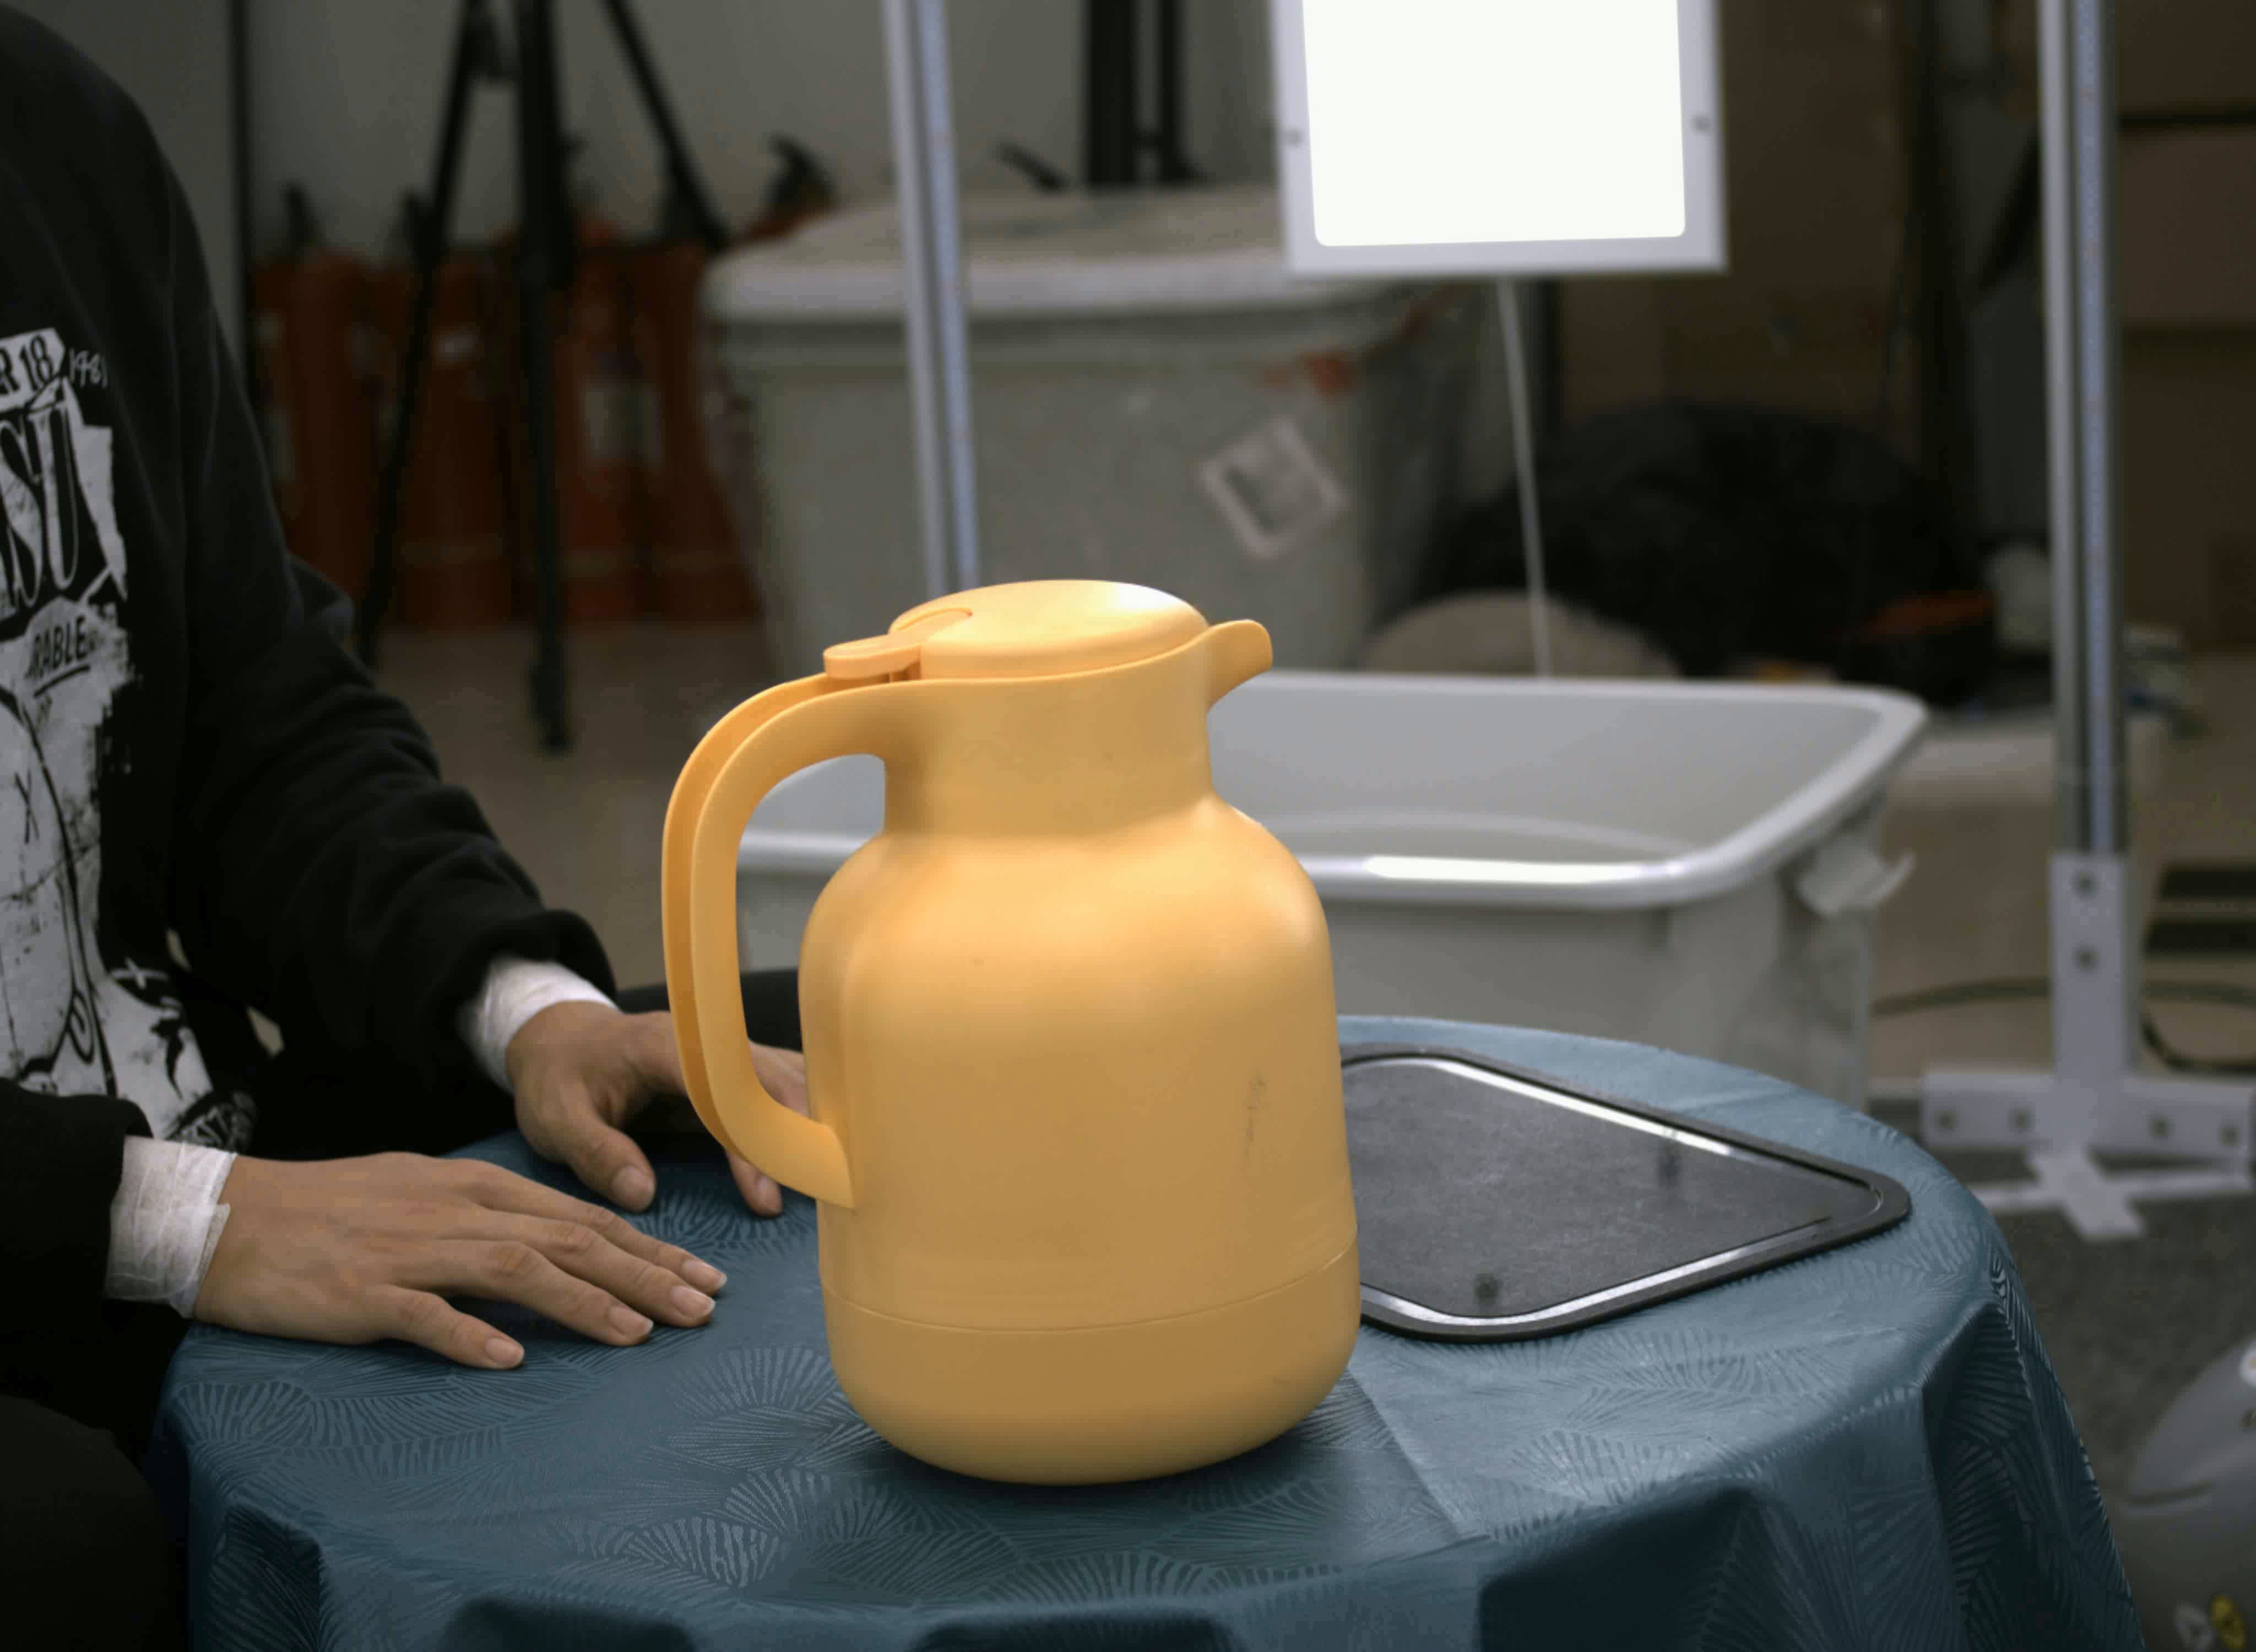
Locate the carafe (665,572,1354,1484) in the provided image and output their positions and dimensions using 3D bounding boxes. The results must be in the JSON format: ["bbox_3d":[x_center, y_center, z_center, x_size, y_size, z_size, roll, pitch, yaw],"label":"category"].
[{"bbox_3d":[-0.036,0.059,1.639,0.199,0.261,0.166,-8,12,-20],"label":"carafe"}]

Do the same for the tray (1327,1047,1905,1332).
[{"bbox_3d":[0.098,0.118,1.883,0.206,0.010,0.332,-13,16,-31],"label":"tray"}]
